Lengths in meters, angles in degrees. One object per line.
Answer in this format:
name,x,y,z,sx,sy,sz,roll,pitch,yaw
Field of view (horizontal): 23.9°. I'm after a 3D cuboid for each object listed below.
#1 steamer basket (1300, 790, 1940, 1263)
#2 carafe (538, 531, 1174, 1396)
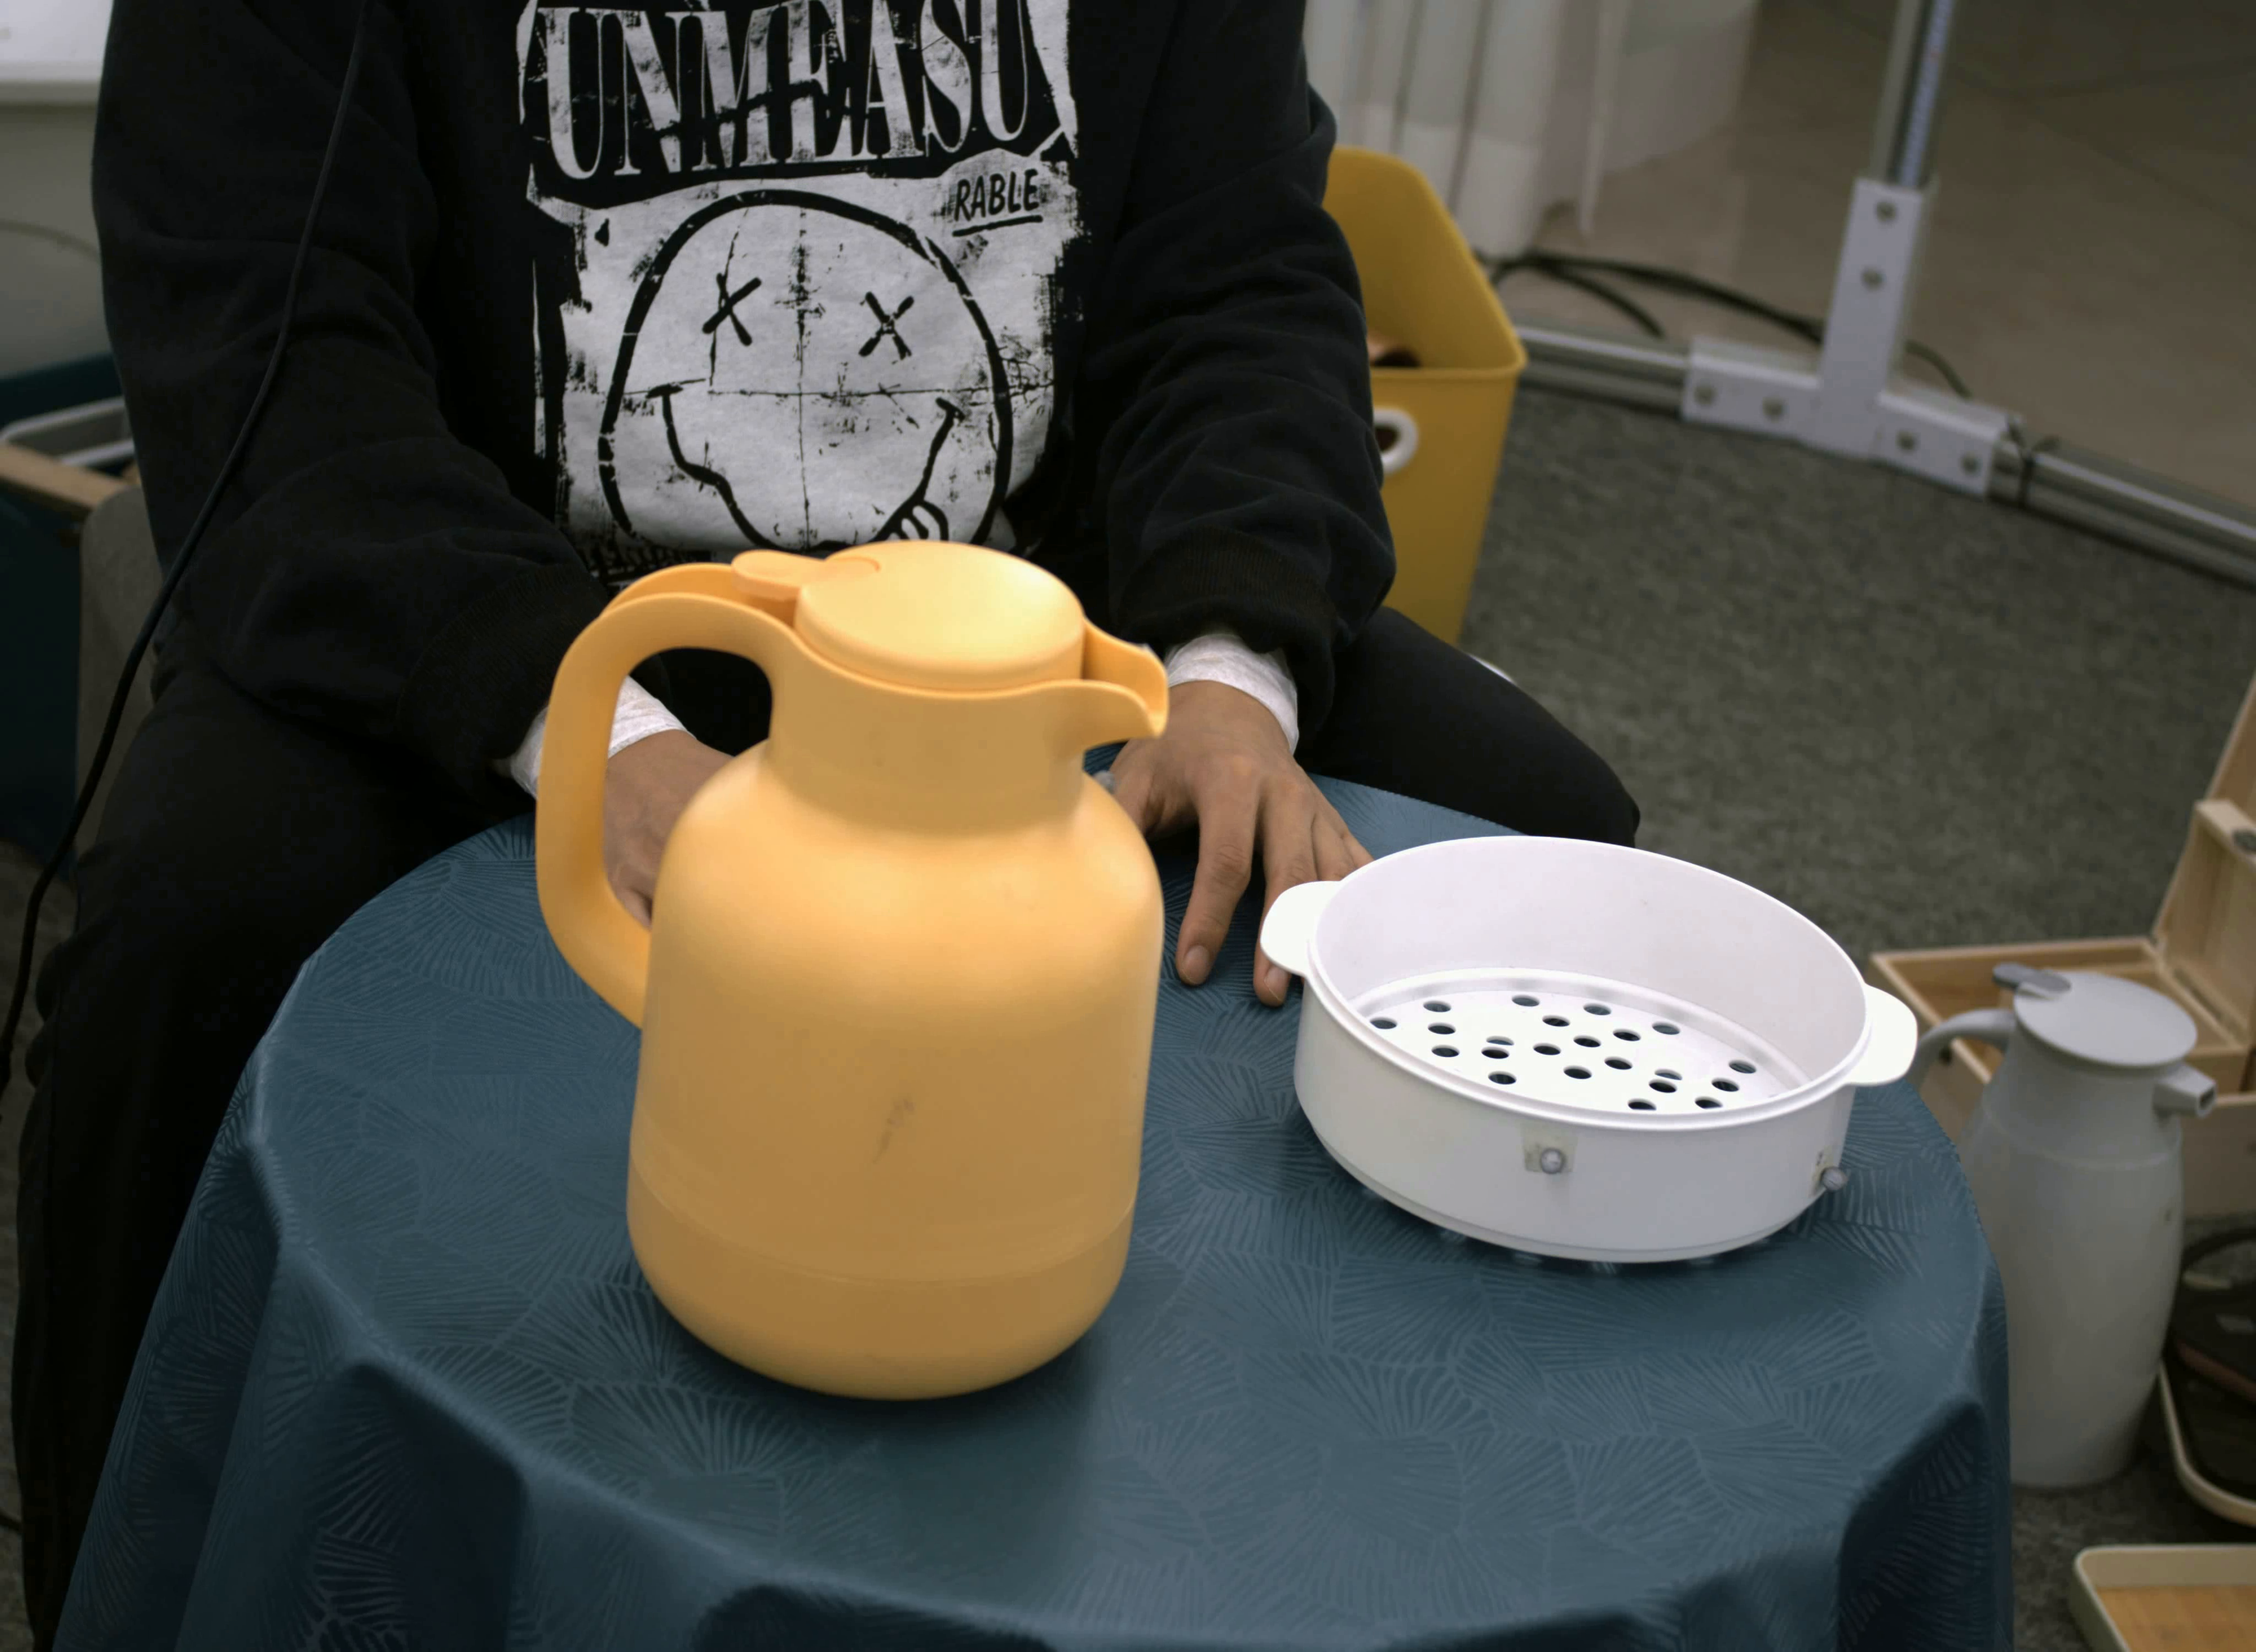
steamer basket,0.163,0.070,1.850,0.230,0.069,0.202,19,32,5
carafe,-0.089,0.033,1.673,0.203,0.260,0.163,16,25,13
